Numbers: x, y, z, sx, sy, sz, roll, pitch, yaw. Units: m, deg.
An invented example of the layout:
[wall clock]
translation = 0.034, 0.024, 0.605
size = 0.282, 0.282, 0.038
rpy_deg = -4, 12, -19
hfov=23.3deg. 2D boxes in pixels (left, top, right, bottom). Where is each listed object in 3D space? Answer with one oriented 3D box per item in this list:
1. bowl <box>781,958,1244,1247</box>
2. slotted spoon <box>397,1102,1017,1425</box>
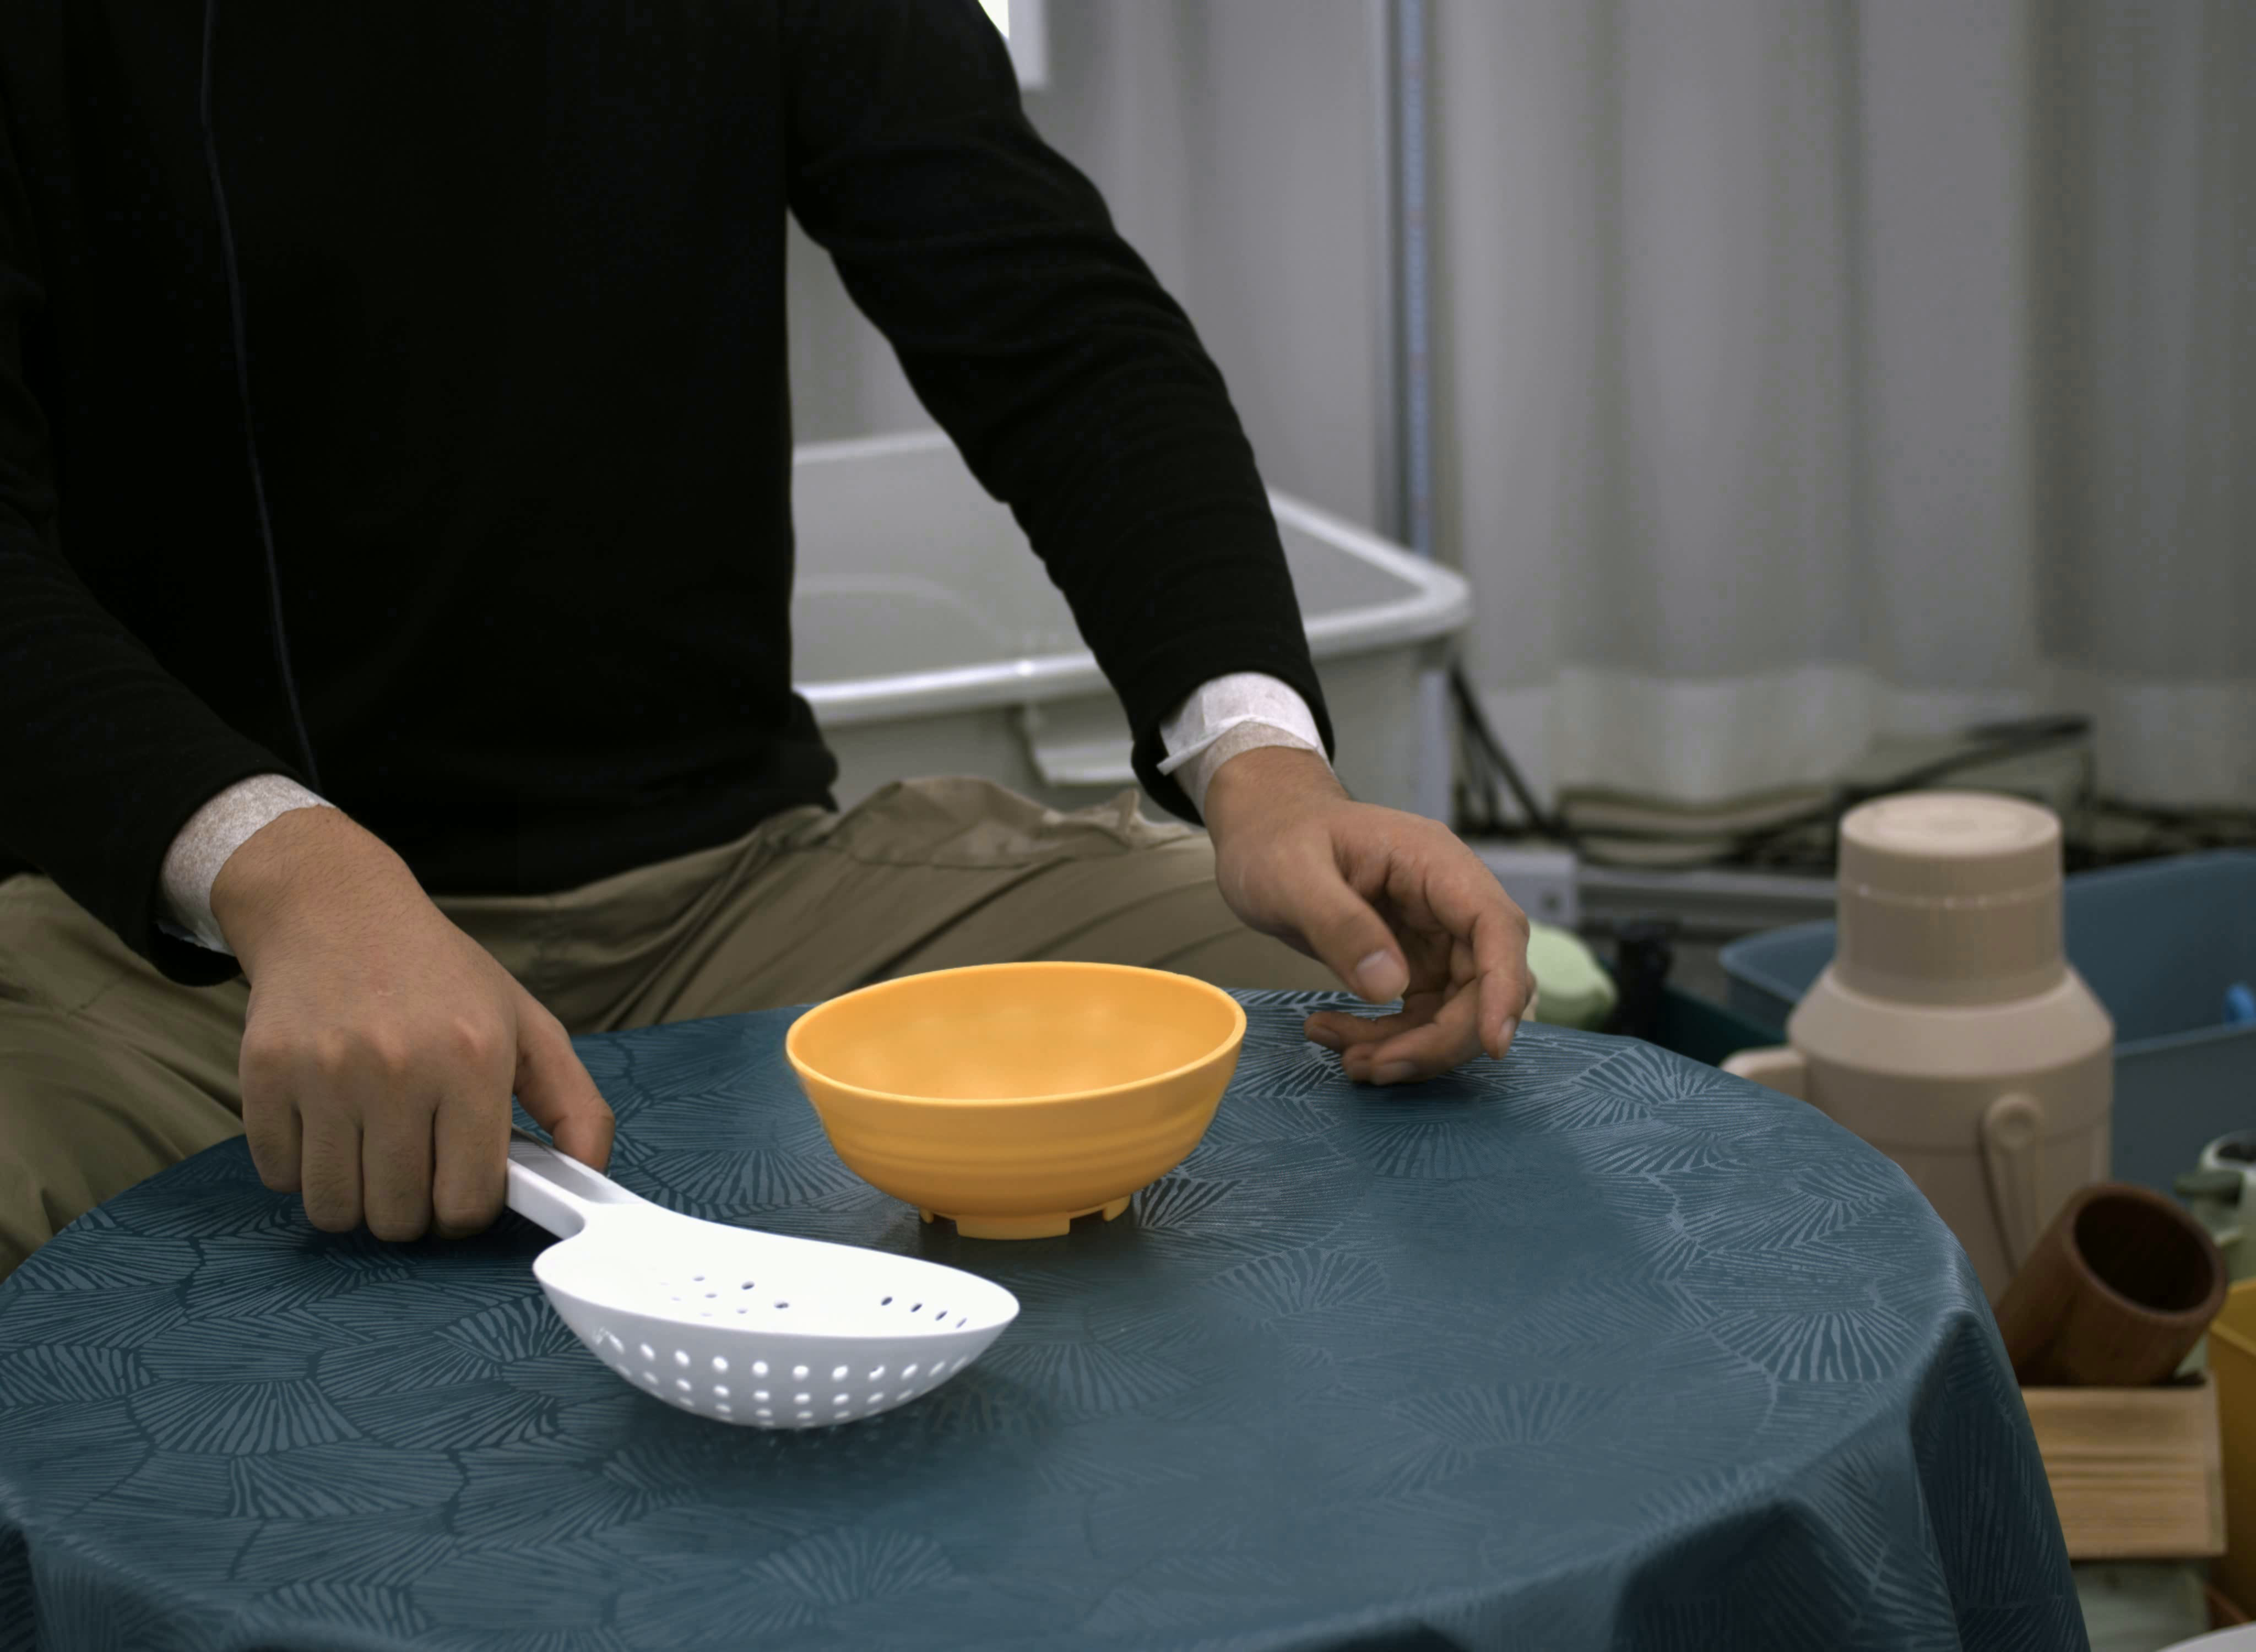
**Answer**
[bowl]
translation = -0.035, 0.091, 1.701
size = 0.145, 0.060, 0.146
rpy_deg = -1, 16, 0
[slotted spoon]
translation = -0.148, 0.120, 1.622
size = 0.135, 0.045, 0.352
rpy_deg = 3, 11, -27
